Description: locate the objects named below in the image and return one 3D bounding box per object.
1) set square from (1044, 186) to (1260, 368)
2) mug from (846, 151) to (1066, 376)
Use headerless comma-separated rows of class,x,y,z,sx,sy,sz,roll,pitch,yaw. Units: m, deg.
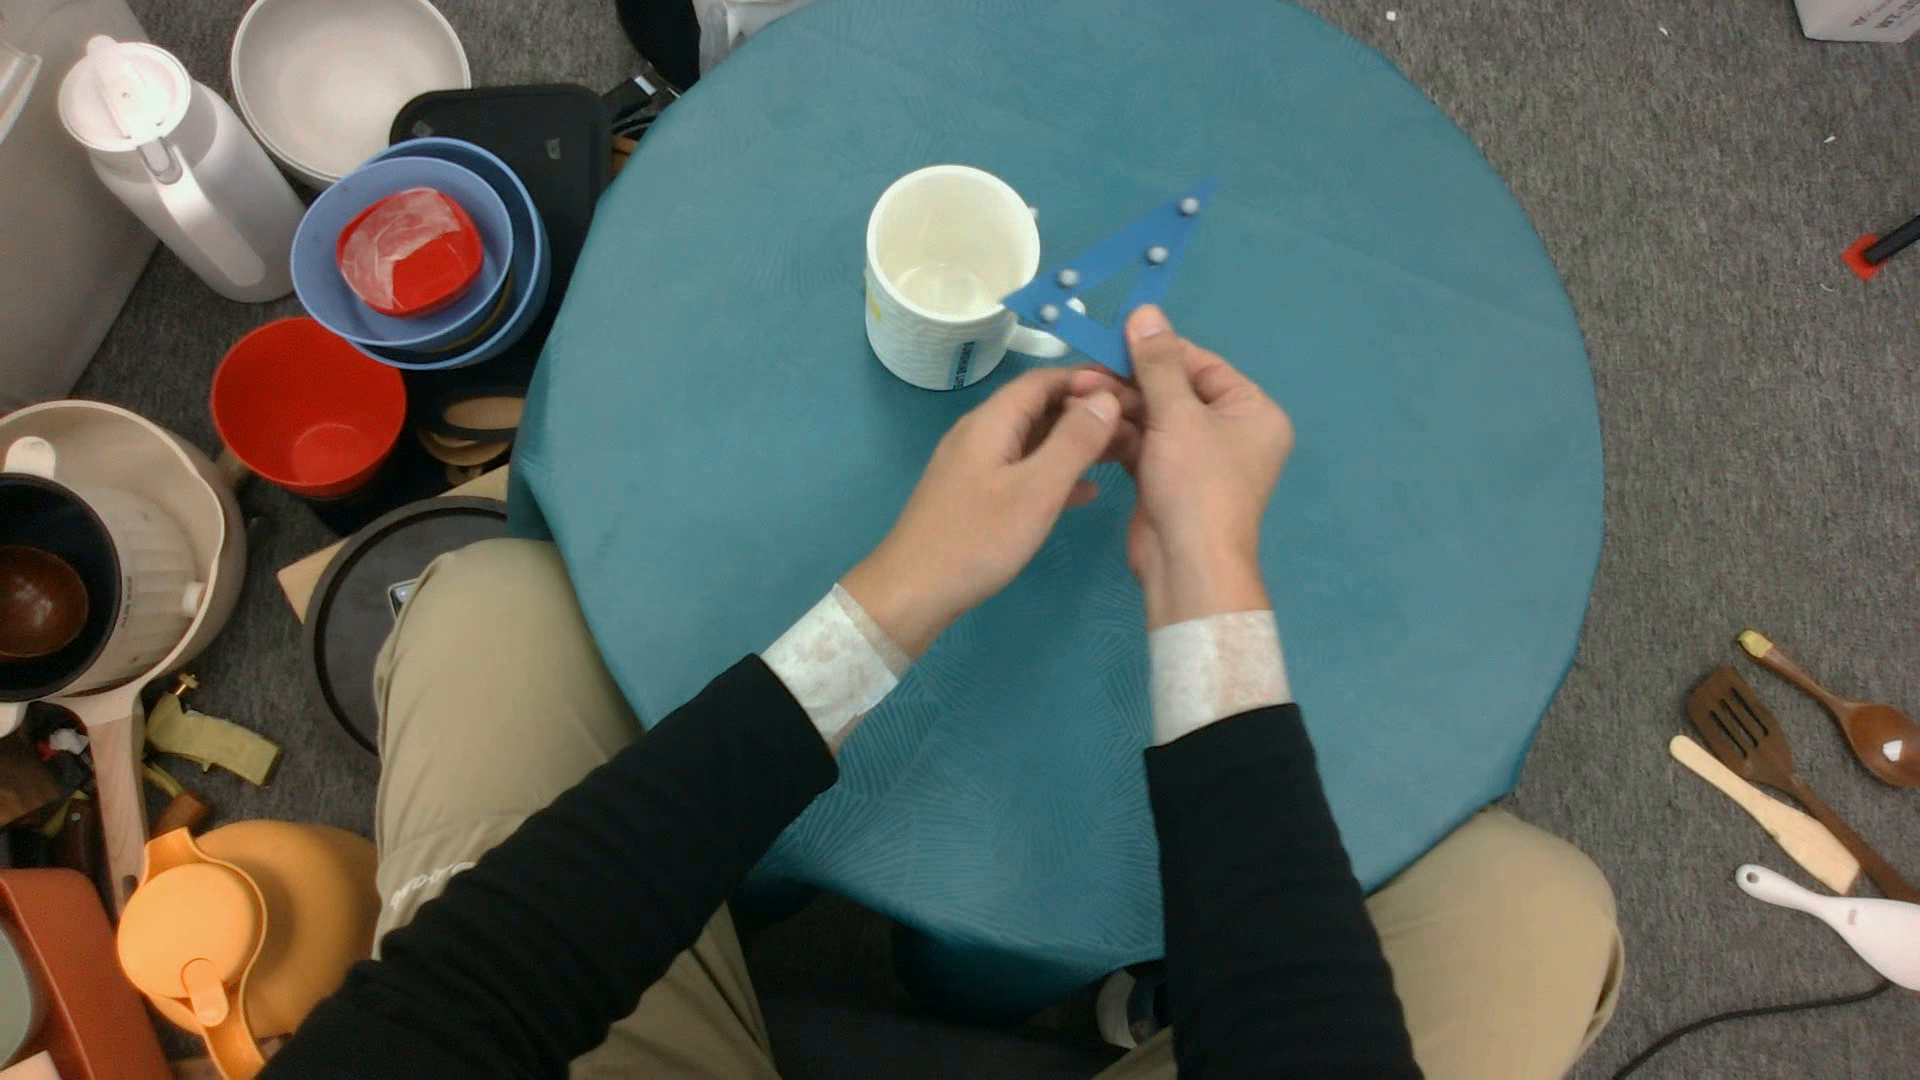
set square,0.107,-0.126,0.673,0.132,0.006,0.061,-31,89,-20
mug,-0.003,-0.137,0.729,0.118,0.101,0.085,22,74,0
